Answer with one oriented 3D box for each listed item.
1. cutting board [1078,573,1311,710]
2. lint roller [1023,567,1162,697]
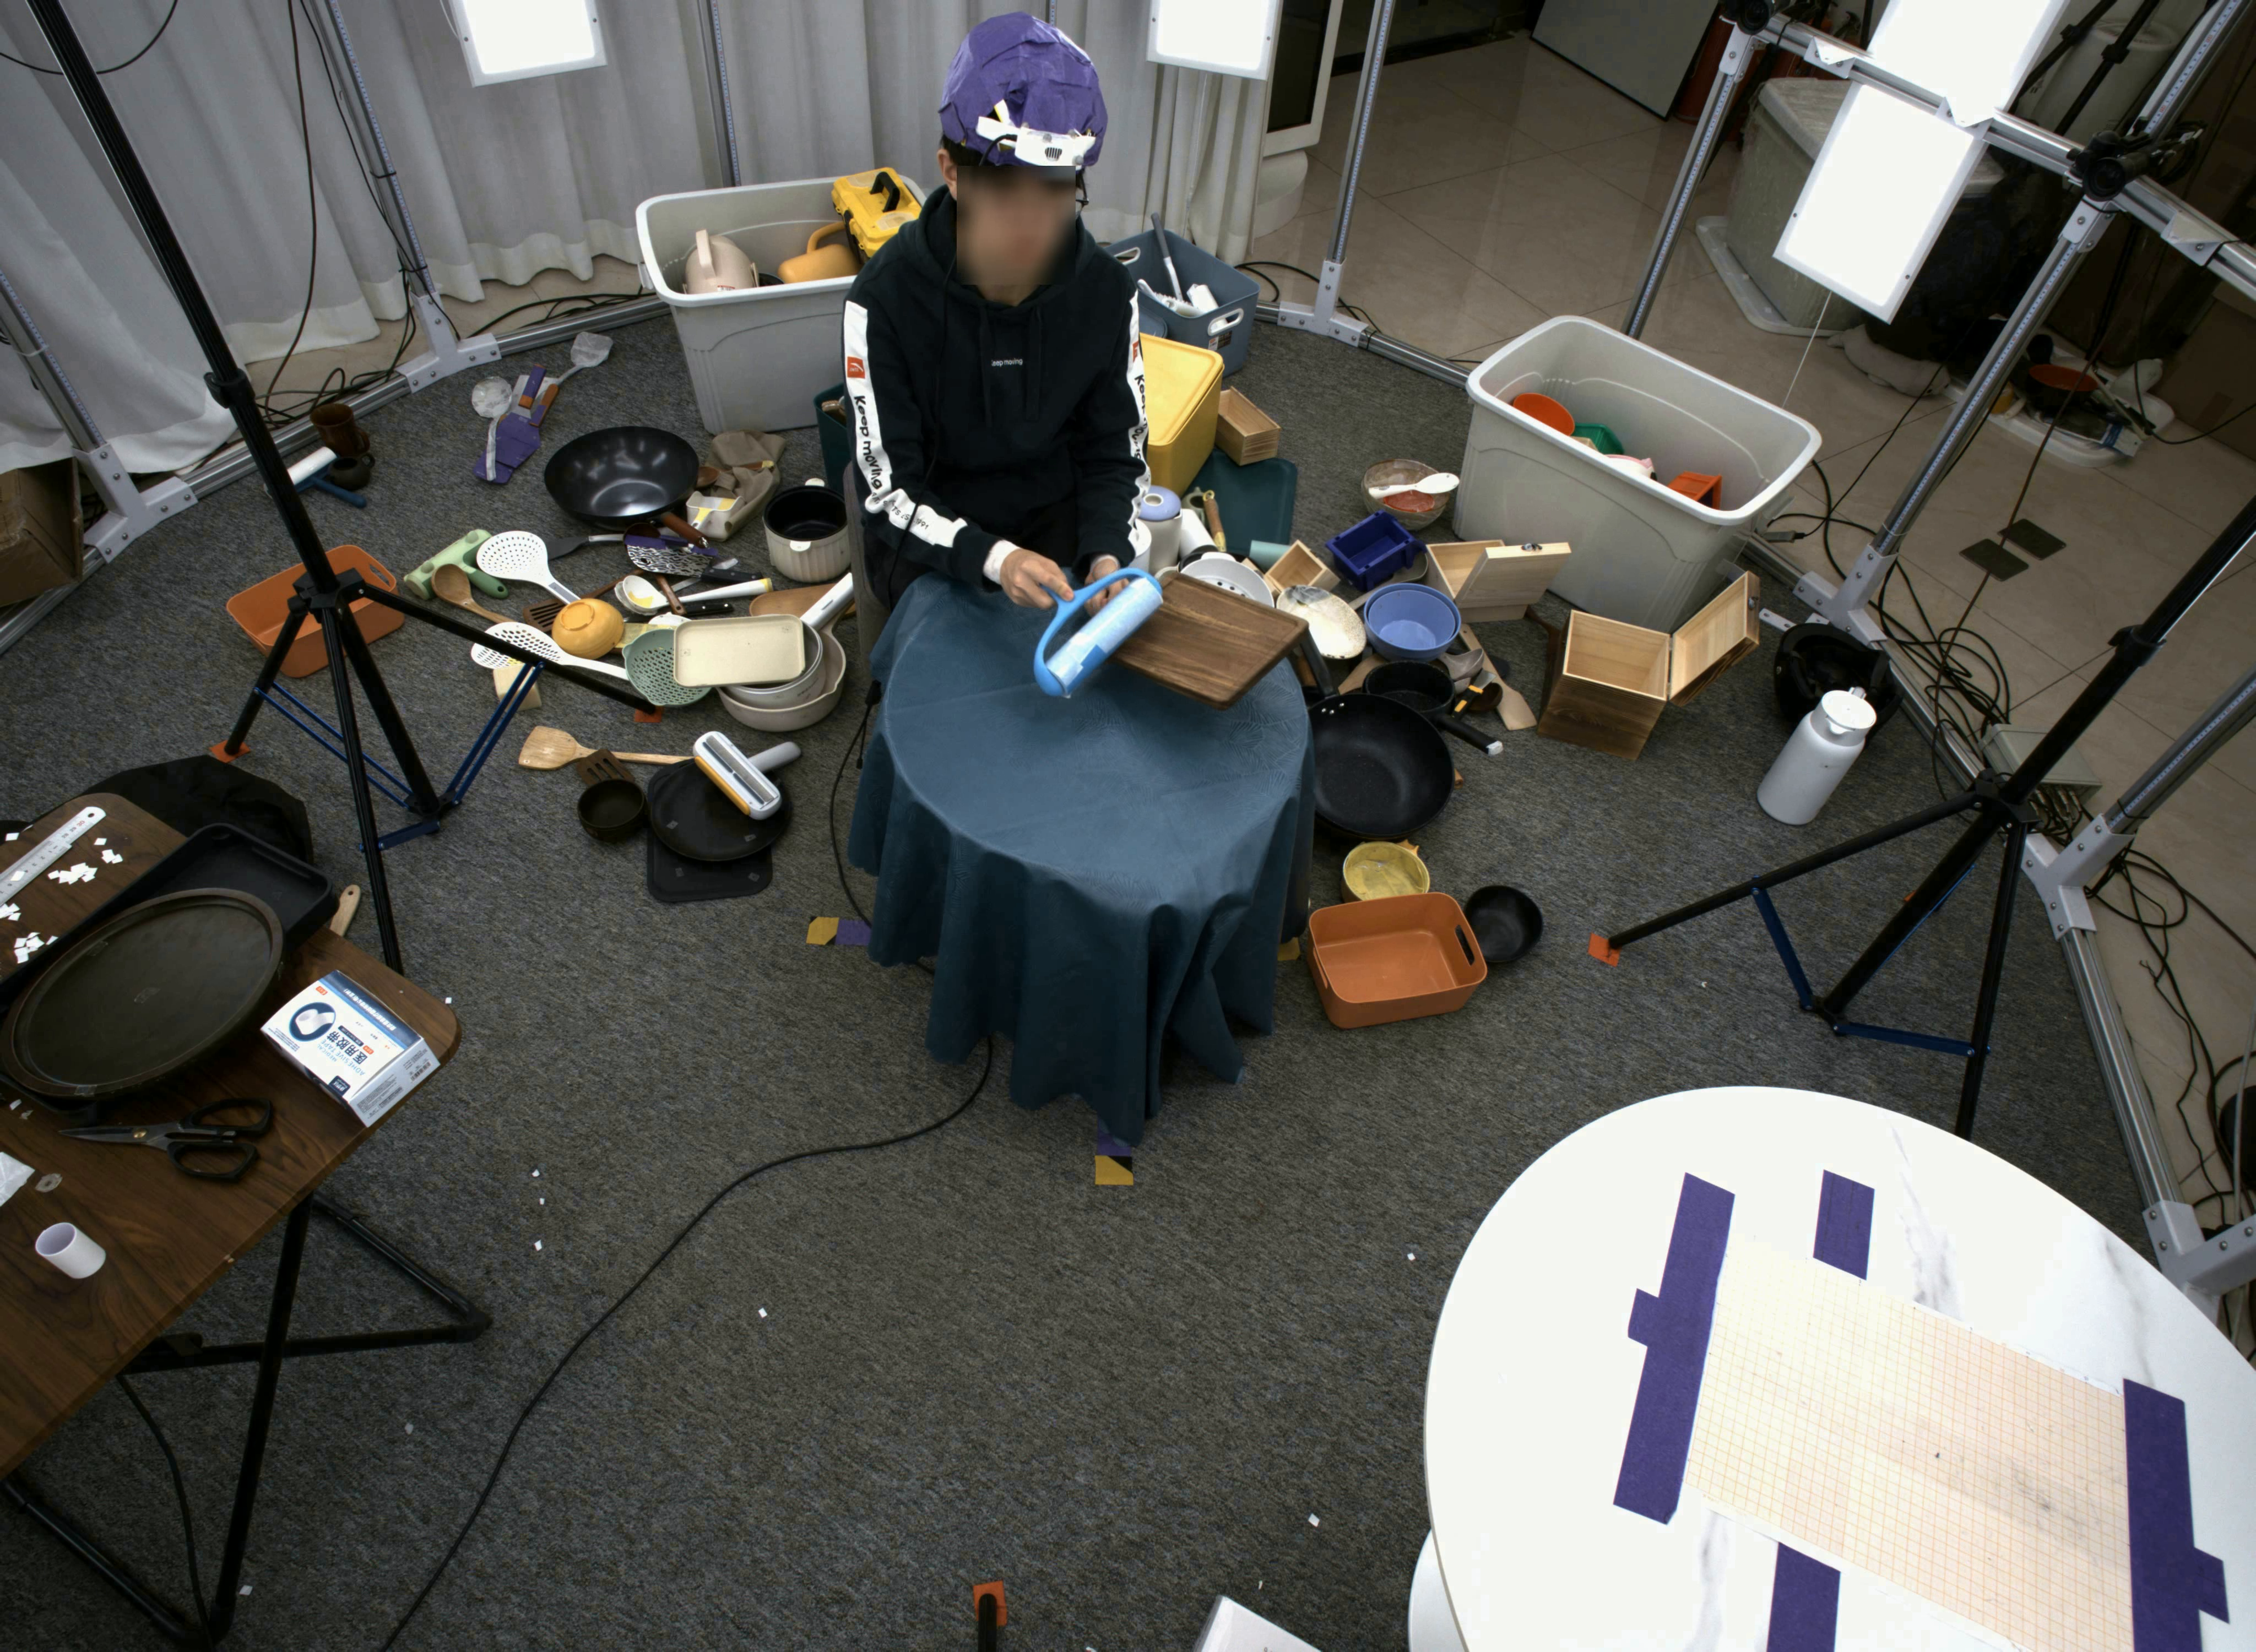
[{"bbox_3d":[0.063,-0.282,1.818,0.357,0.022,0.203,27,57,34],"label":"cutting board"},{"bbox_3d":[-0.081,-0.299,1.794,0.182,0.066,0.231,36,74,18],"label":"lint roller"}]
